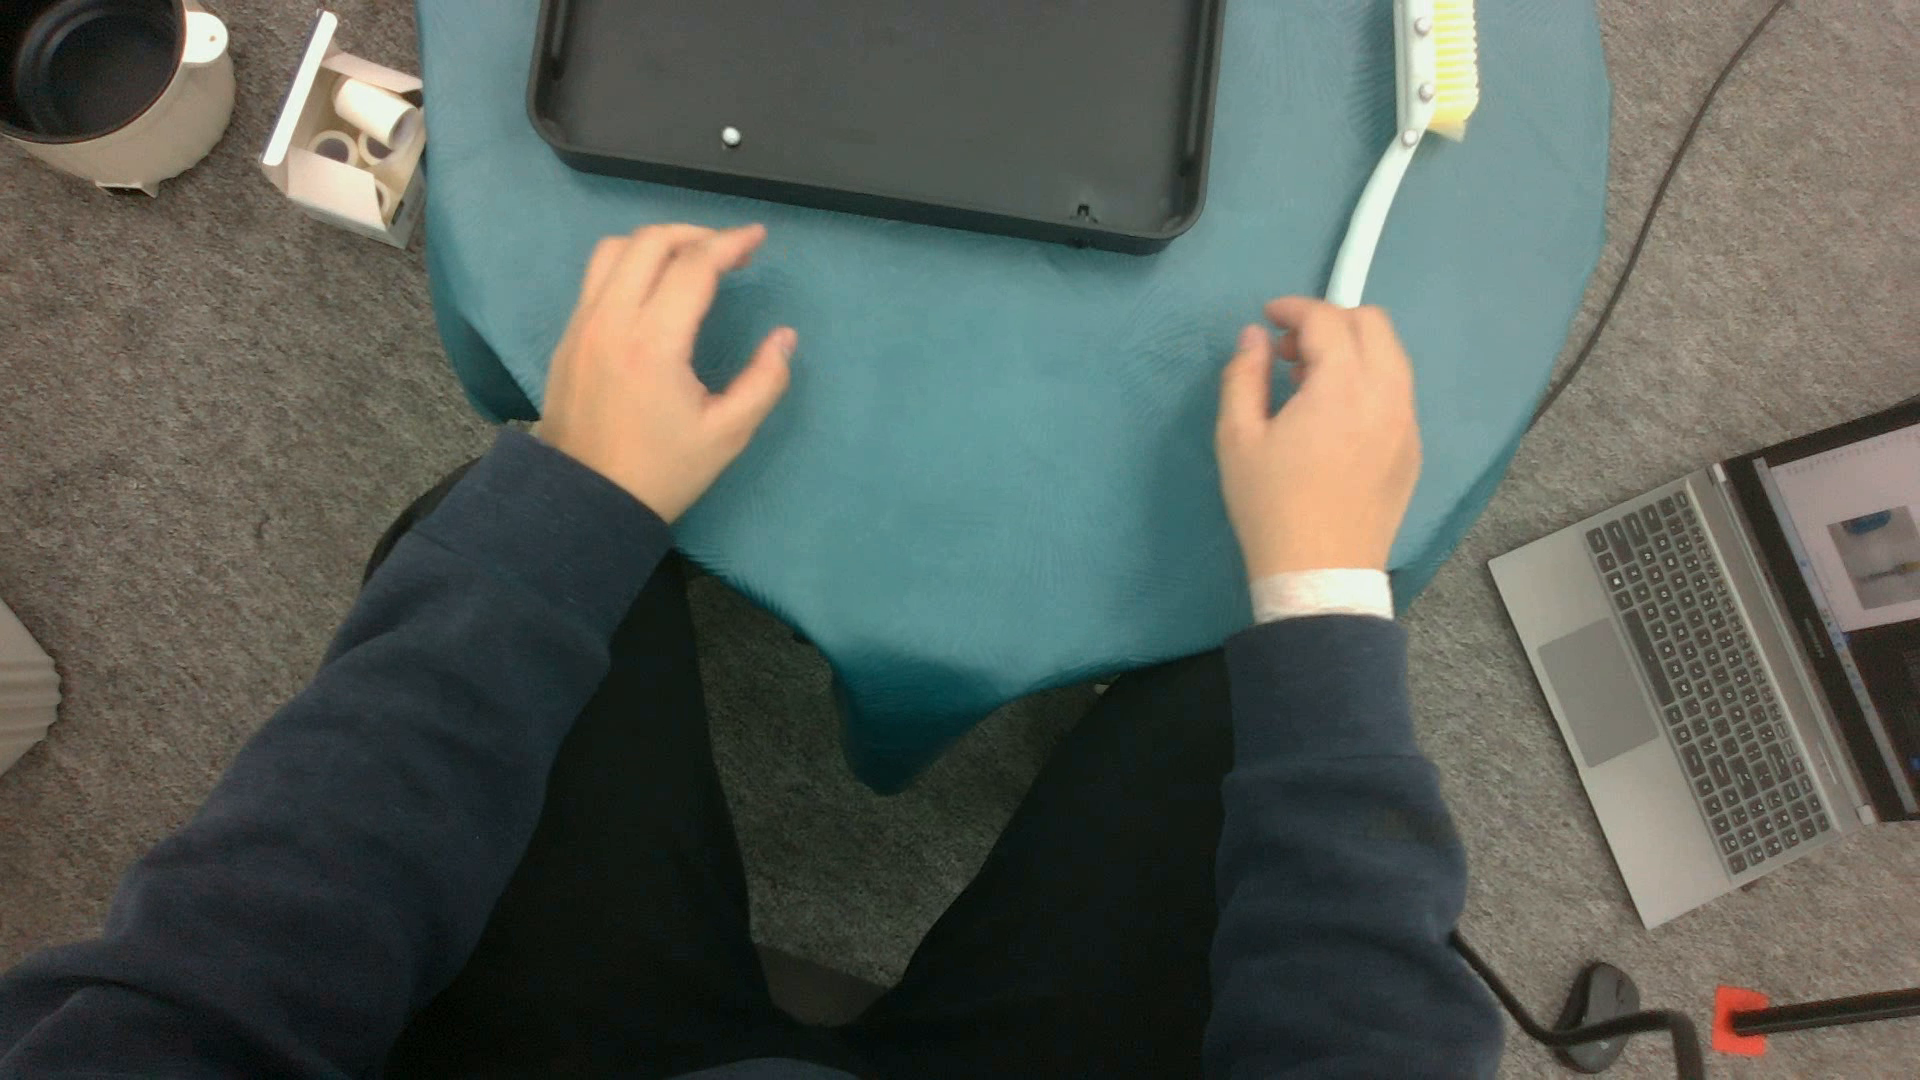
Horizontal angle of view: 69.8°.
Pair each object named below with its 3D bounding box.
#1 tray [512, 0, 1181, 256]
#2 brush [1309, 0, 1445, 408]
[{"bbox_3d":[-0.051,-0.239,0.680,0.318,0.037,0.184,2,84,-6],"label":"tray"},{"bbox_3d":[0.212,-0.179,0.698,0.049,0.038,0.229,9,84,7],"label":"brush"}]
